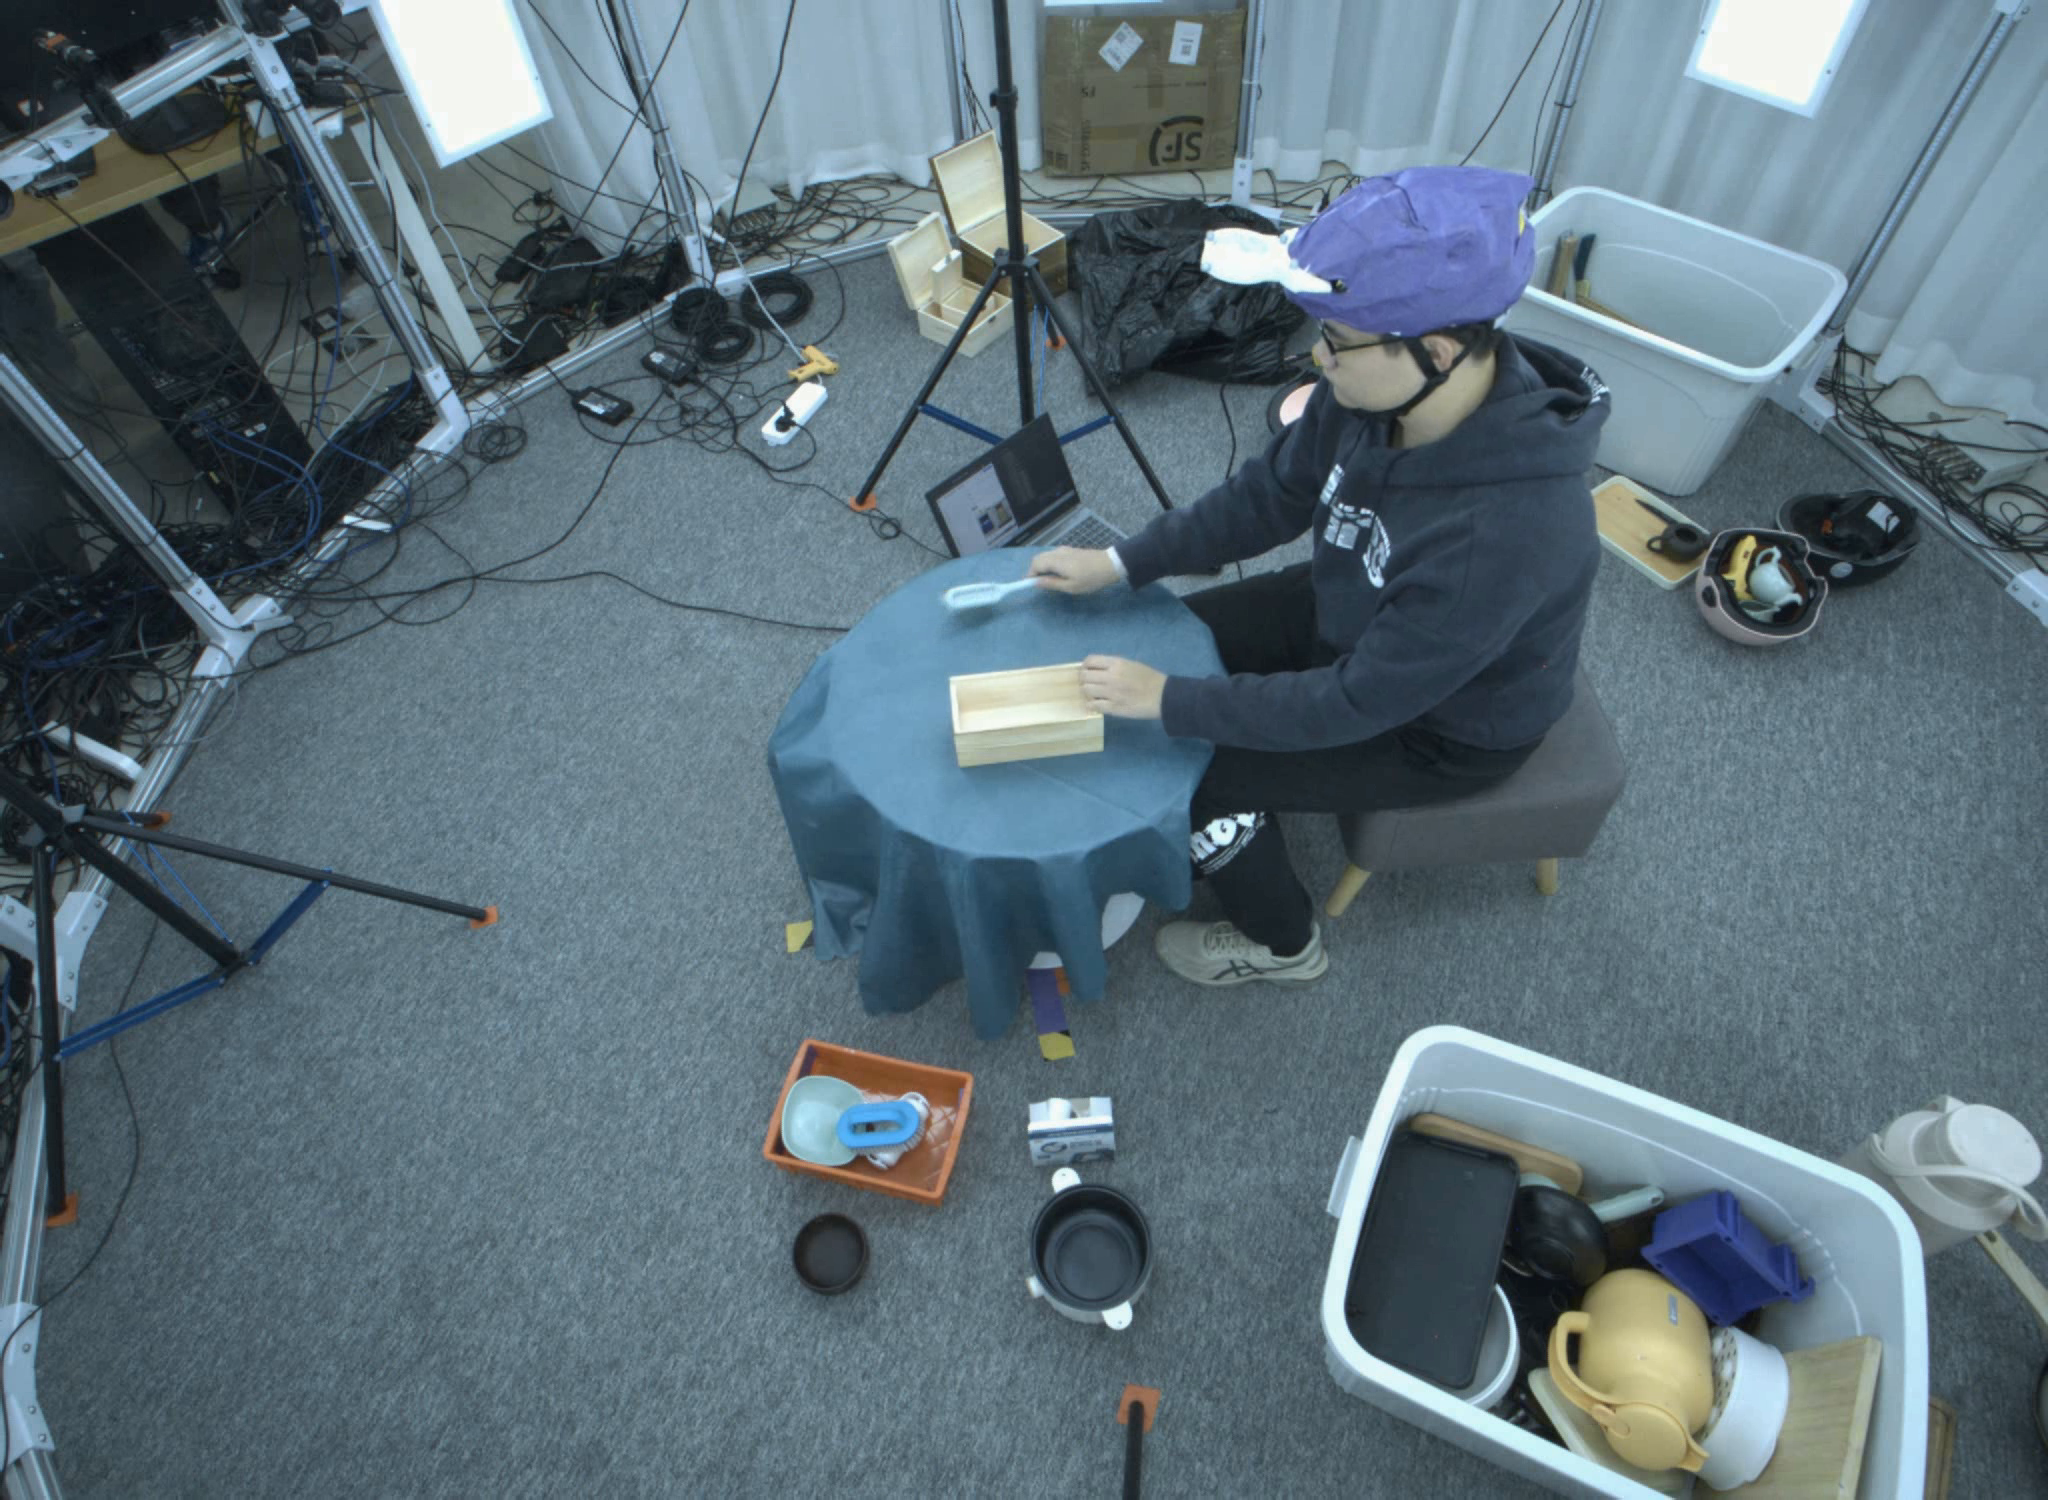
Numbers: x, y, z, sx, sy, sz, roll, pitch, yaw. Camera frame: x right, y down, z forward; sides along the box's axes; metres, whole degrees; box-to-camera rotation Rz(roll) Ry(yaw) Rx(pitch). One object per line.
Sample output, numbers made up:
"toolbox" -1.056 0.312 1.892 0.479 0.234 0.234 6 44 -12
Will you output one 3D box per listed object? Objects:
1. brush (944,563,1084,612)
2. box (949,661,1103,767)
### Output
"brush" -0.017 -0.260 1.935 0.230 0.049 0.038 -17 87 -11
"box" 0.003 -0.052 1.775 0.212 0.081 0.106 -7 55 -3
